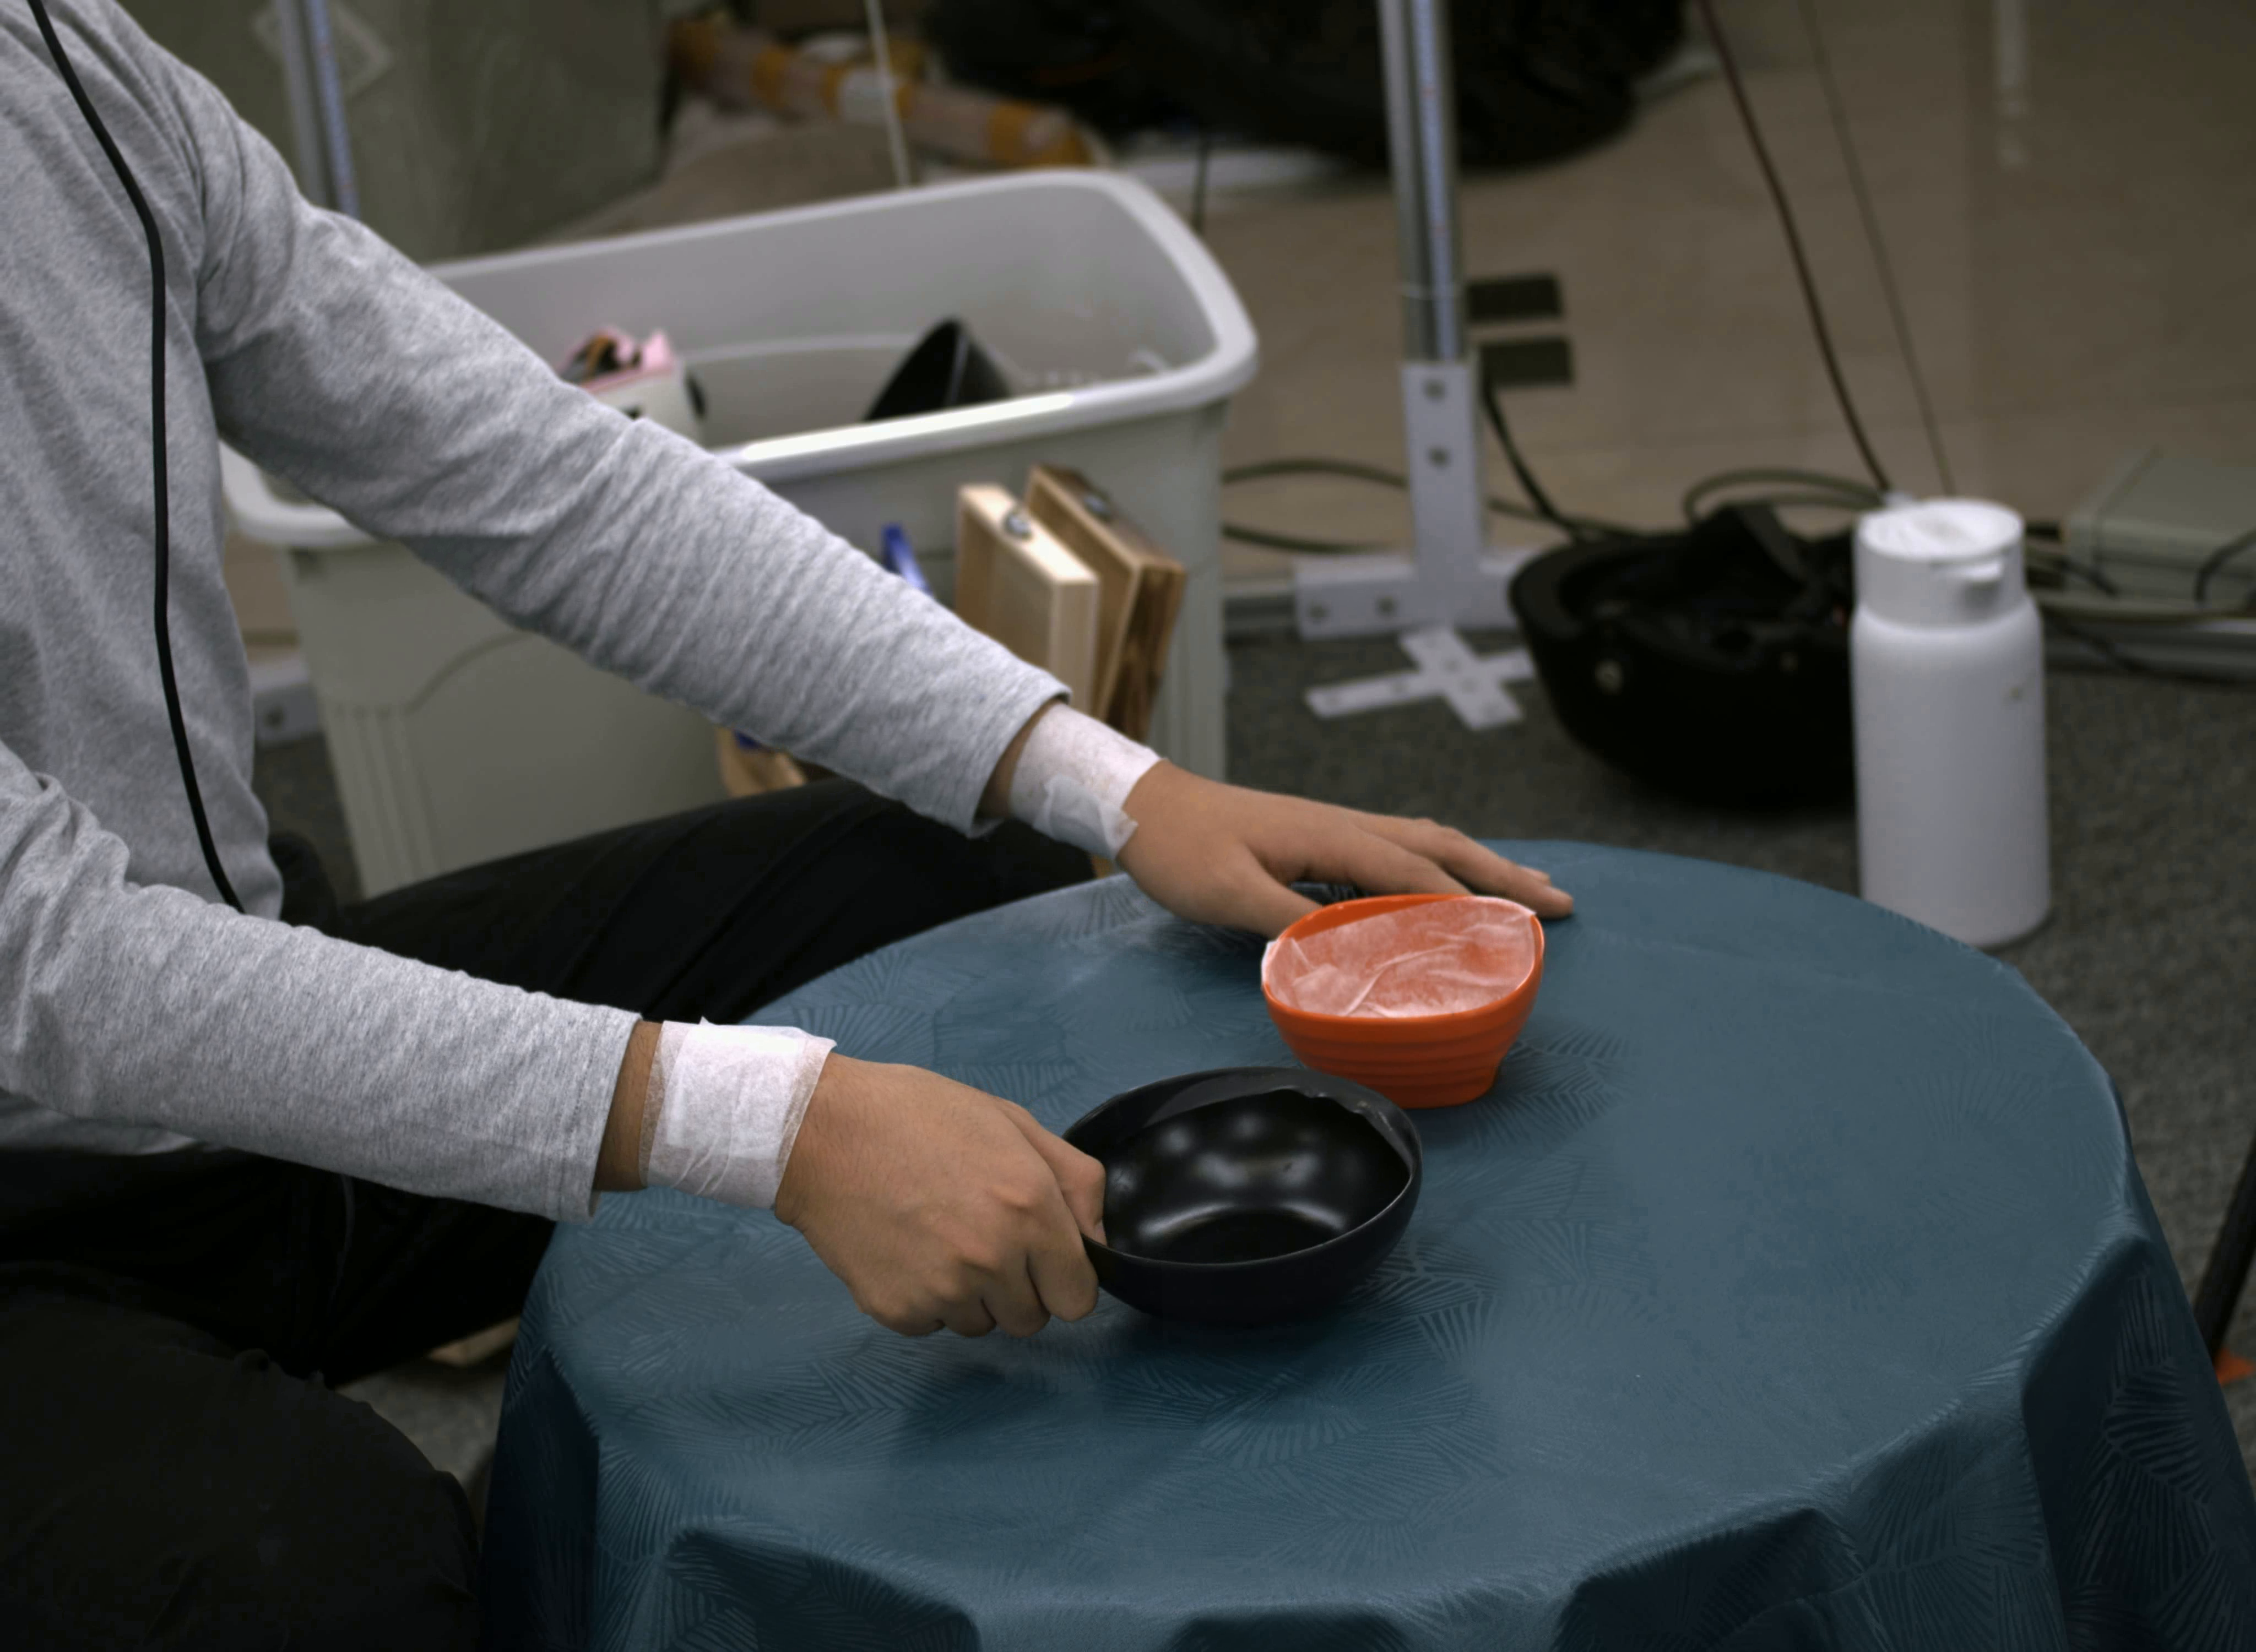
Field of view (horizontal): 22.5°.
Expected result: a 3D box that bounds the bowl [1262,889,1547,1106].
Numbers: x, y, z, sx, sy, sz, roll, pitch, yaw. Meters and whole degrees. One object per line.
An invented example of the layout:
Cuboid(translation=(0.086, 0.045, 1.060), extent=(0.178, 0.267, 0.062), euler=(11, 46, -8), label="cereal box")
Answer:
Cuboid(translation=(0.109, 0.071, 2.207), extent=(0.119, 0.052, 0.117), euler=(-4, 27, 2), label="bowl")

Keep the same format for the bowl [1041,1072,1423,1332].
Cuboid(translation=(0.040, 0.145, 2.065), extent=(0.140, 0.050, 0.138), euler=(-7, 27, 4), label="bowl")
